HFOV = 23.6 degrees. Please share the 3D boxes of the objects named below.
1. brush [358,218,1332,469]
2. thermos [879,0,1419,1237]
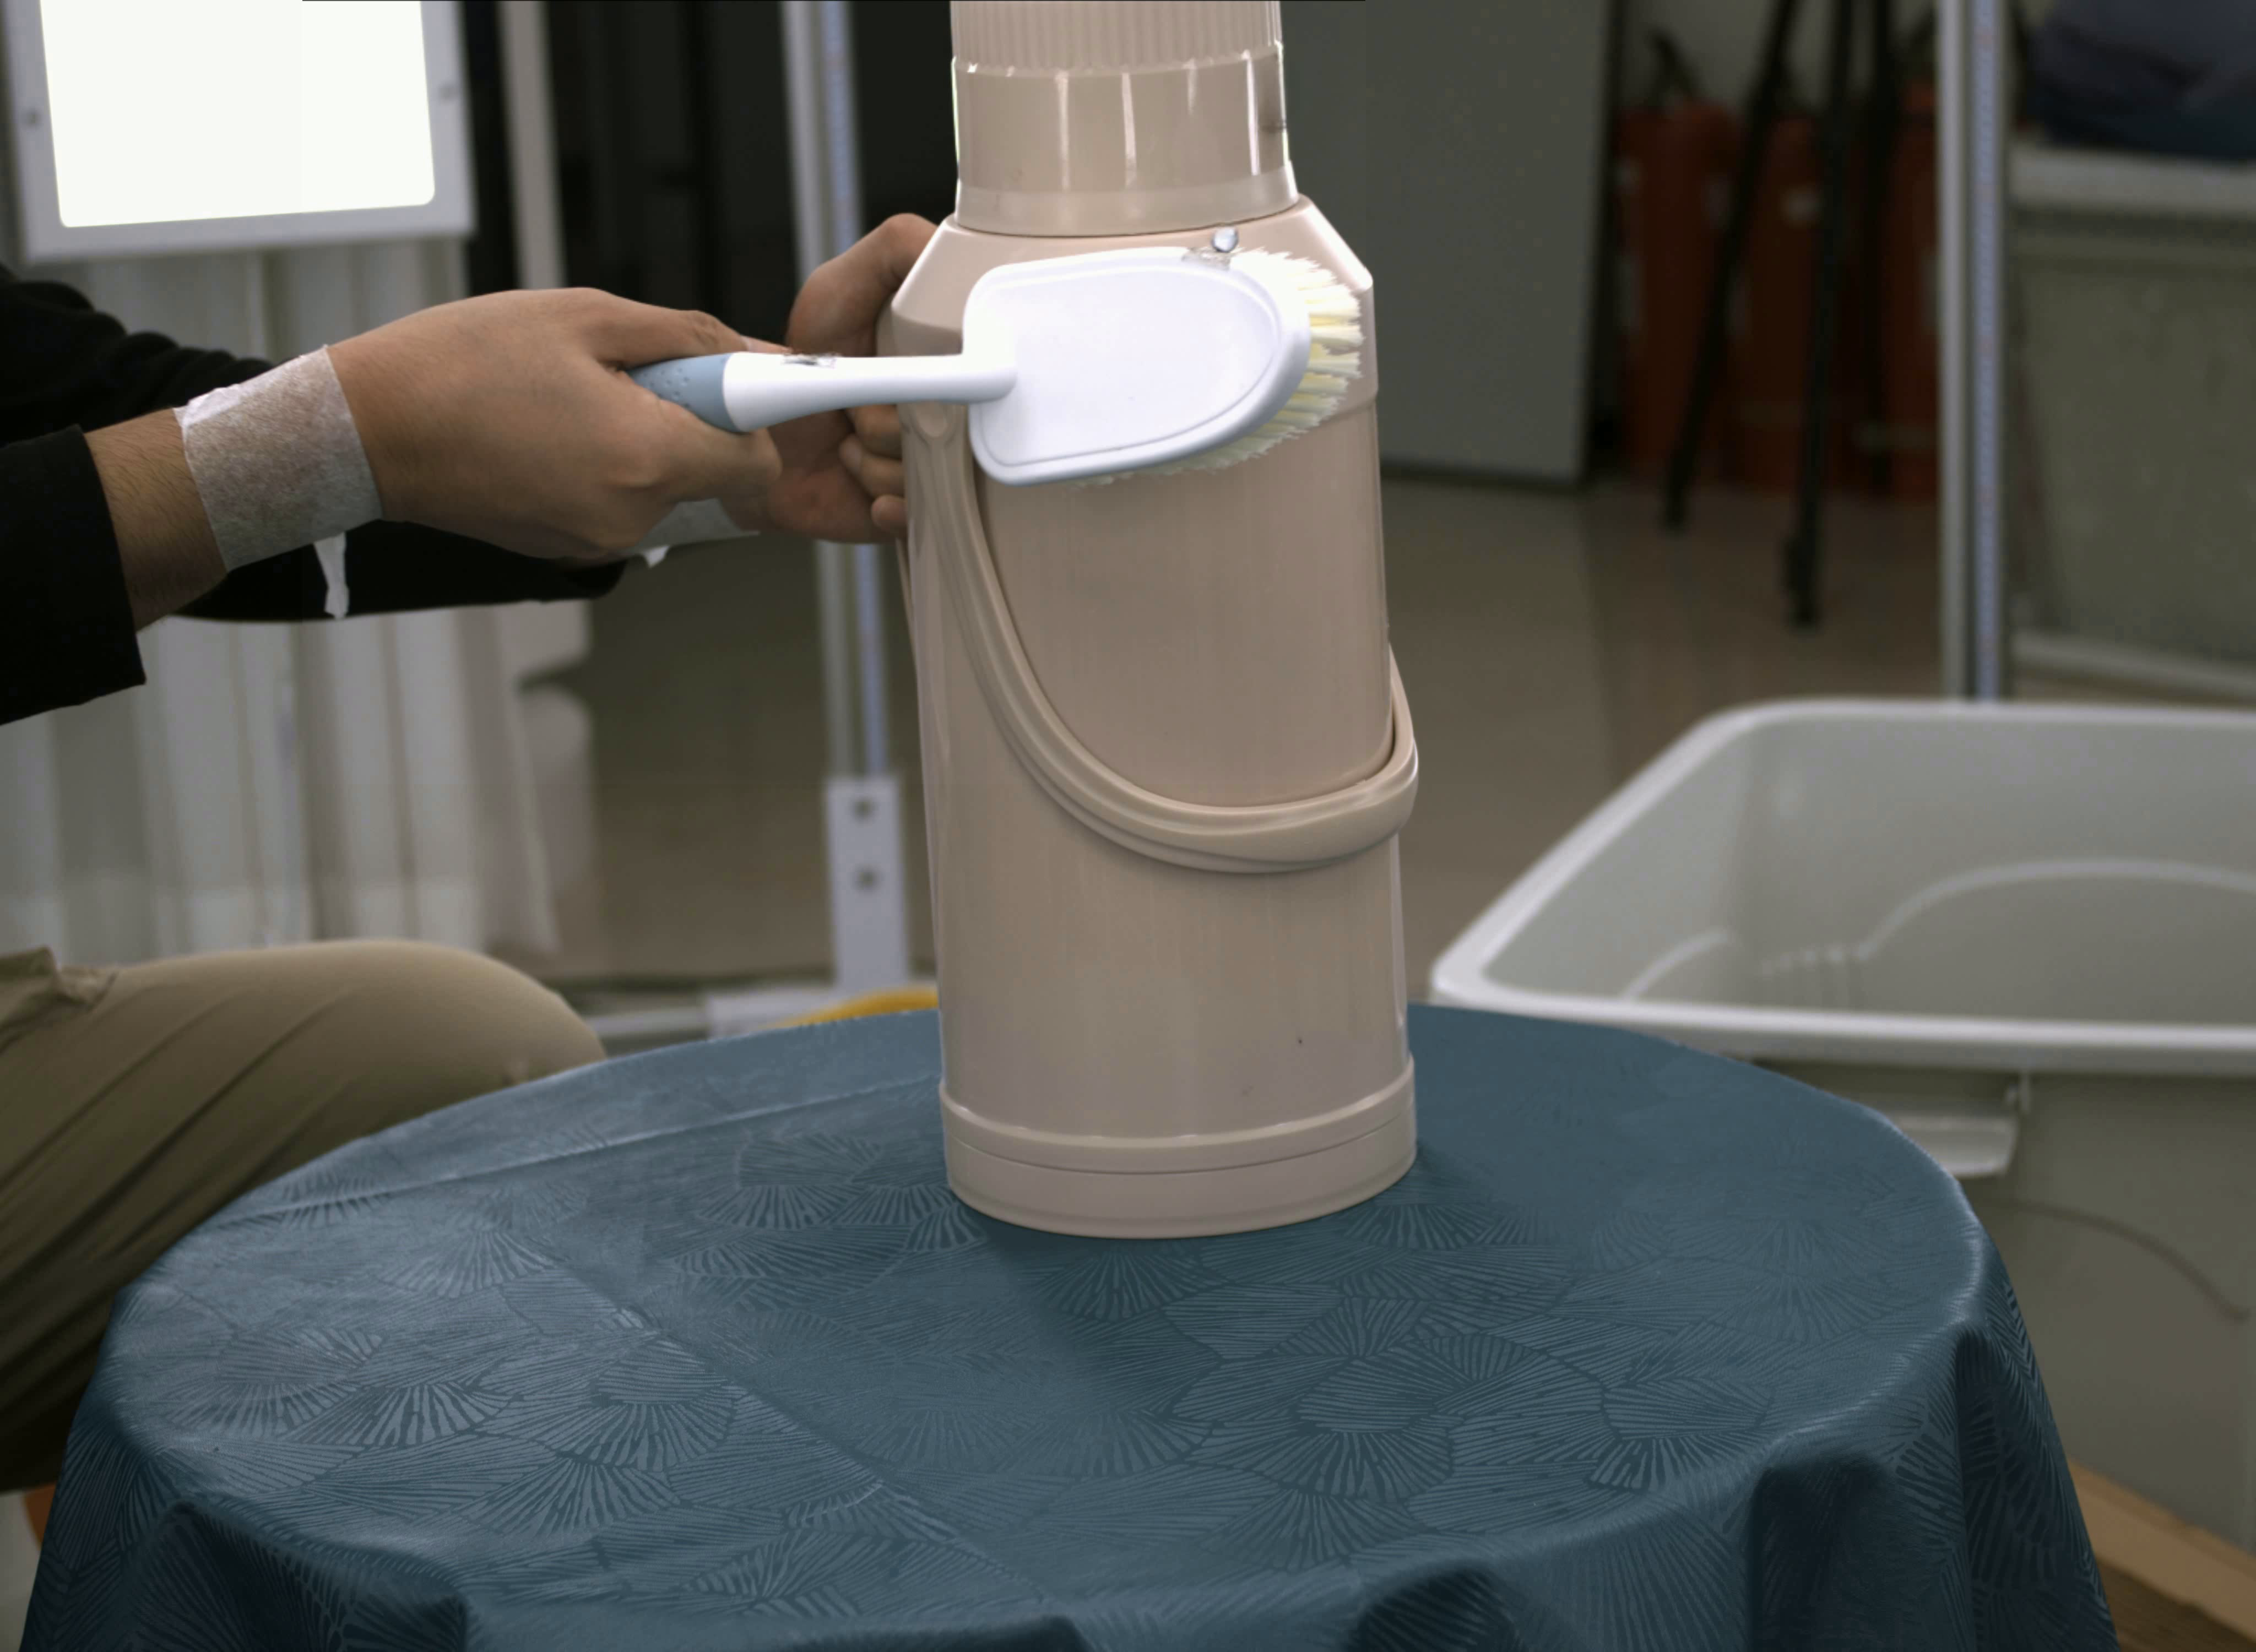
[{"bbox_3d":[-0.084,-0.142,1.653,0.326,0.084,0.083,-5,51,26],"label":"brush"},{"bbox_3d":[-0.002,-0.083,1.763,0.172,0.410,0.209,-17,19,-40],"label":"thermos"}]
